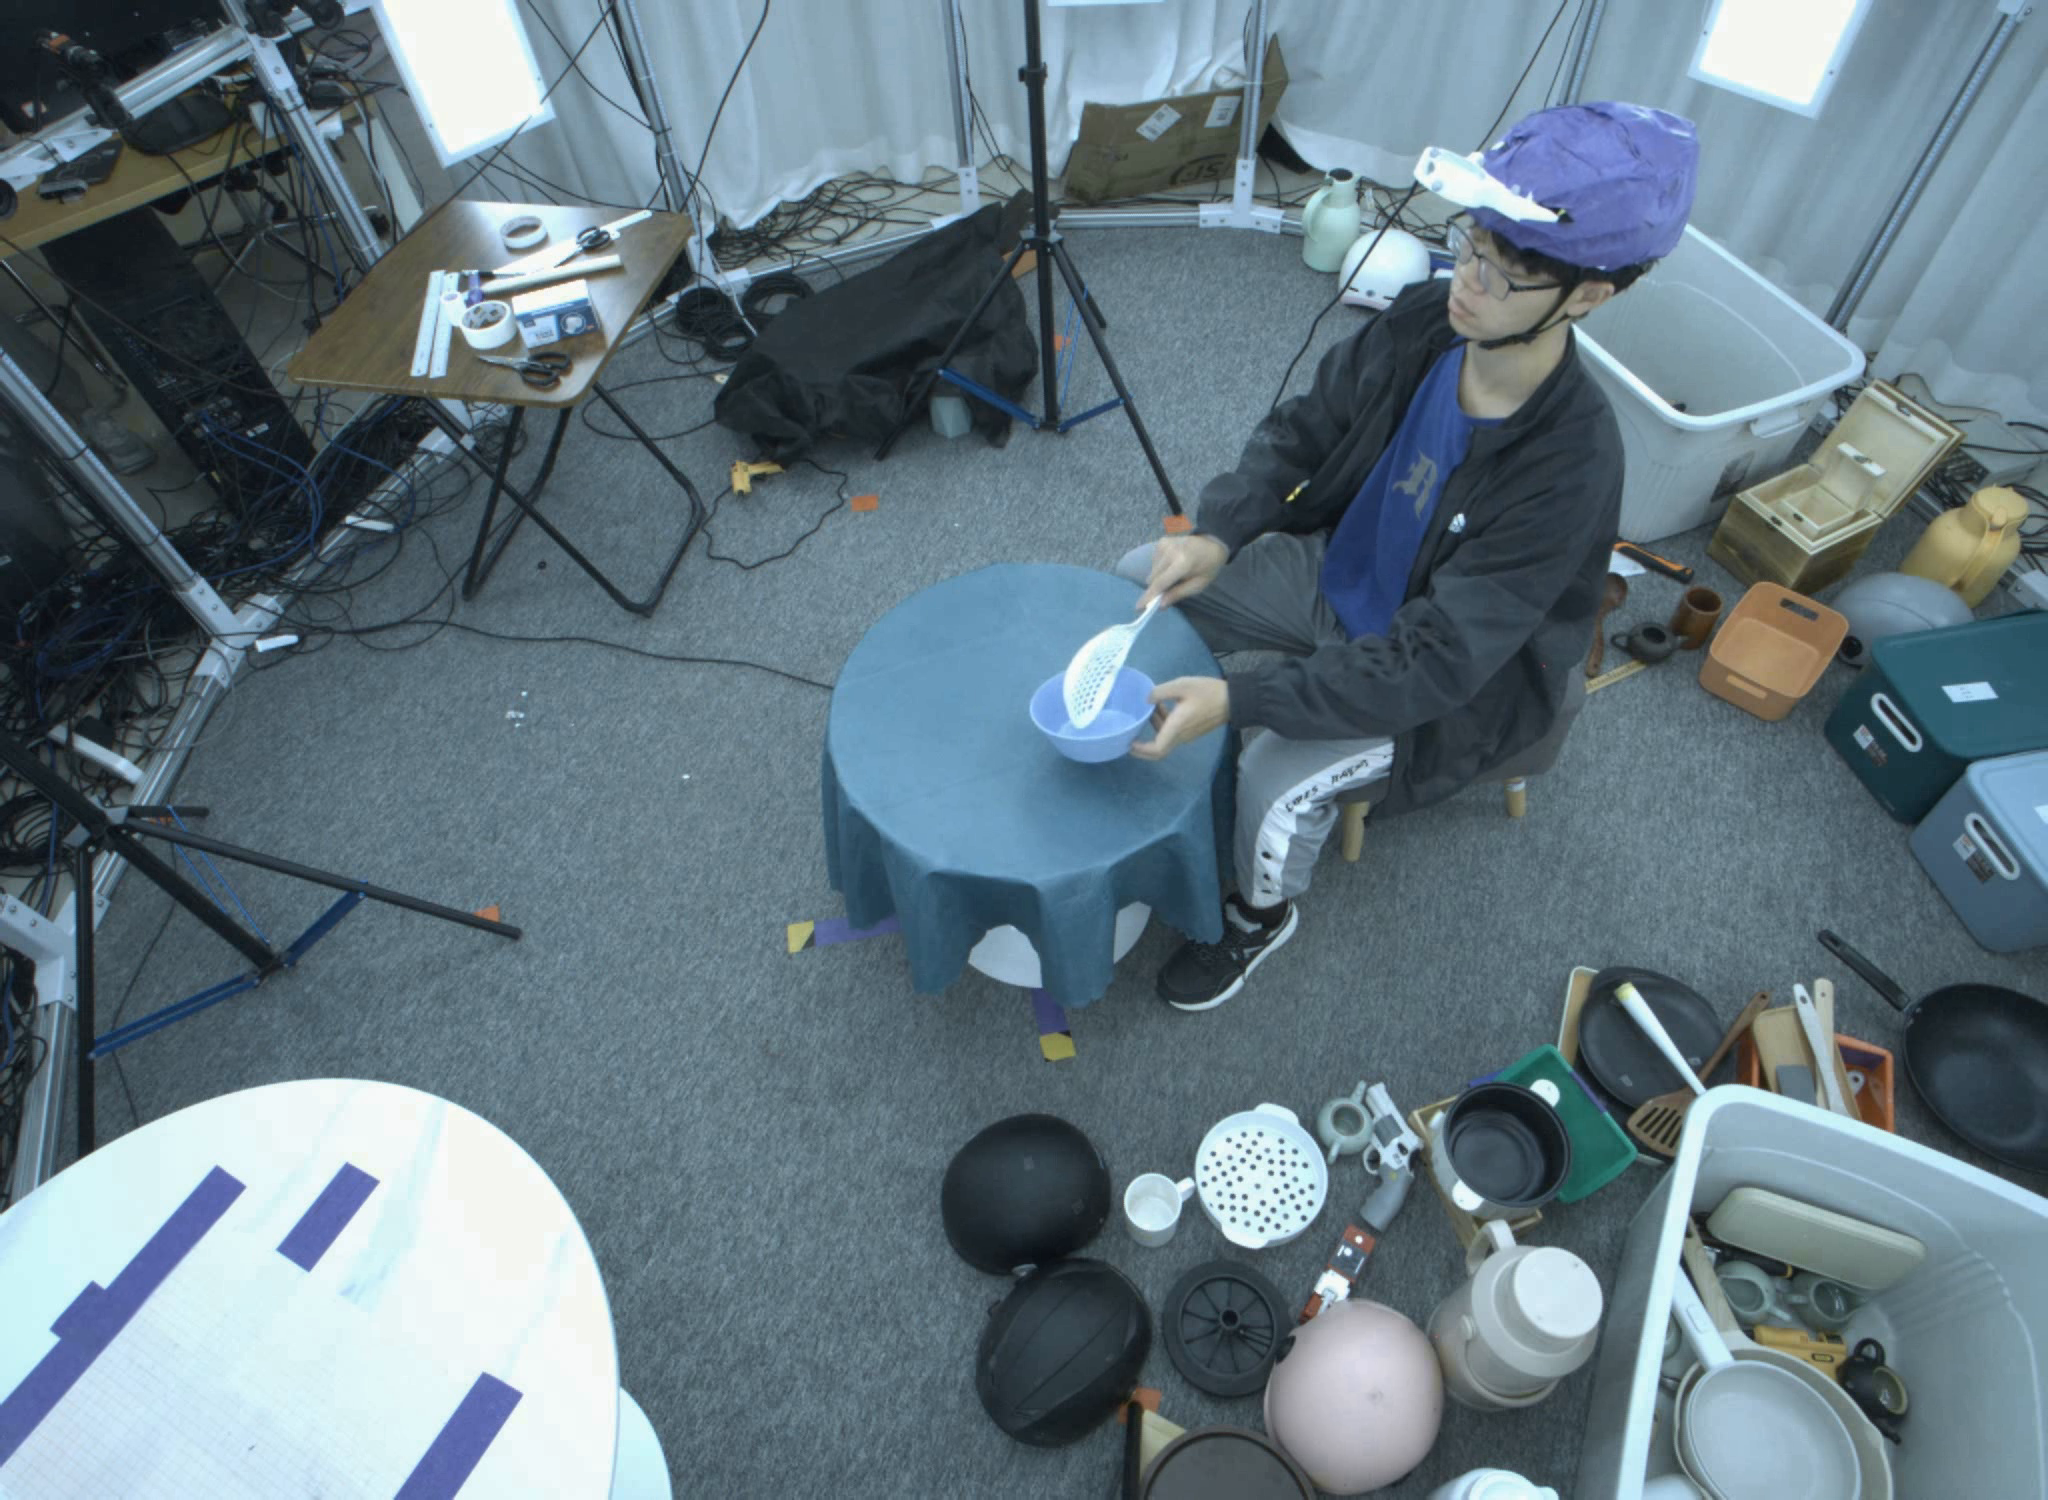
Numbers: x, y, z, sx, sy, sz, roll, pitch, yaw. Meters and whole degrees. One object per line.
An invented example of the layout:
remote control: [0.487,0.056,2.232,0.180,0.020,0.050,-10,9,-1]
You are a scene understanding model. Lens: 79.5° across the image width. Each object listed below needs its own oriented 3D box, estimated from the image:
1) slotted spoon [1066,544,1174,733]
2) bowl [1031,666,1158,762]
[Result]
slotted spoon: [0.145,-0.170,1.719,0.049,0.139,0.349,23,57,26]
bowl: [0.100,-0.043,1.698,0.175,0.071,0.174,-5,36,5]
